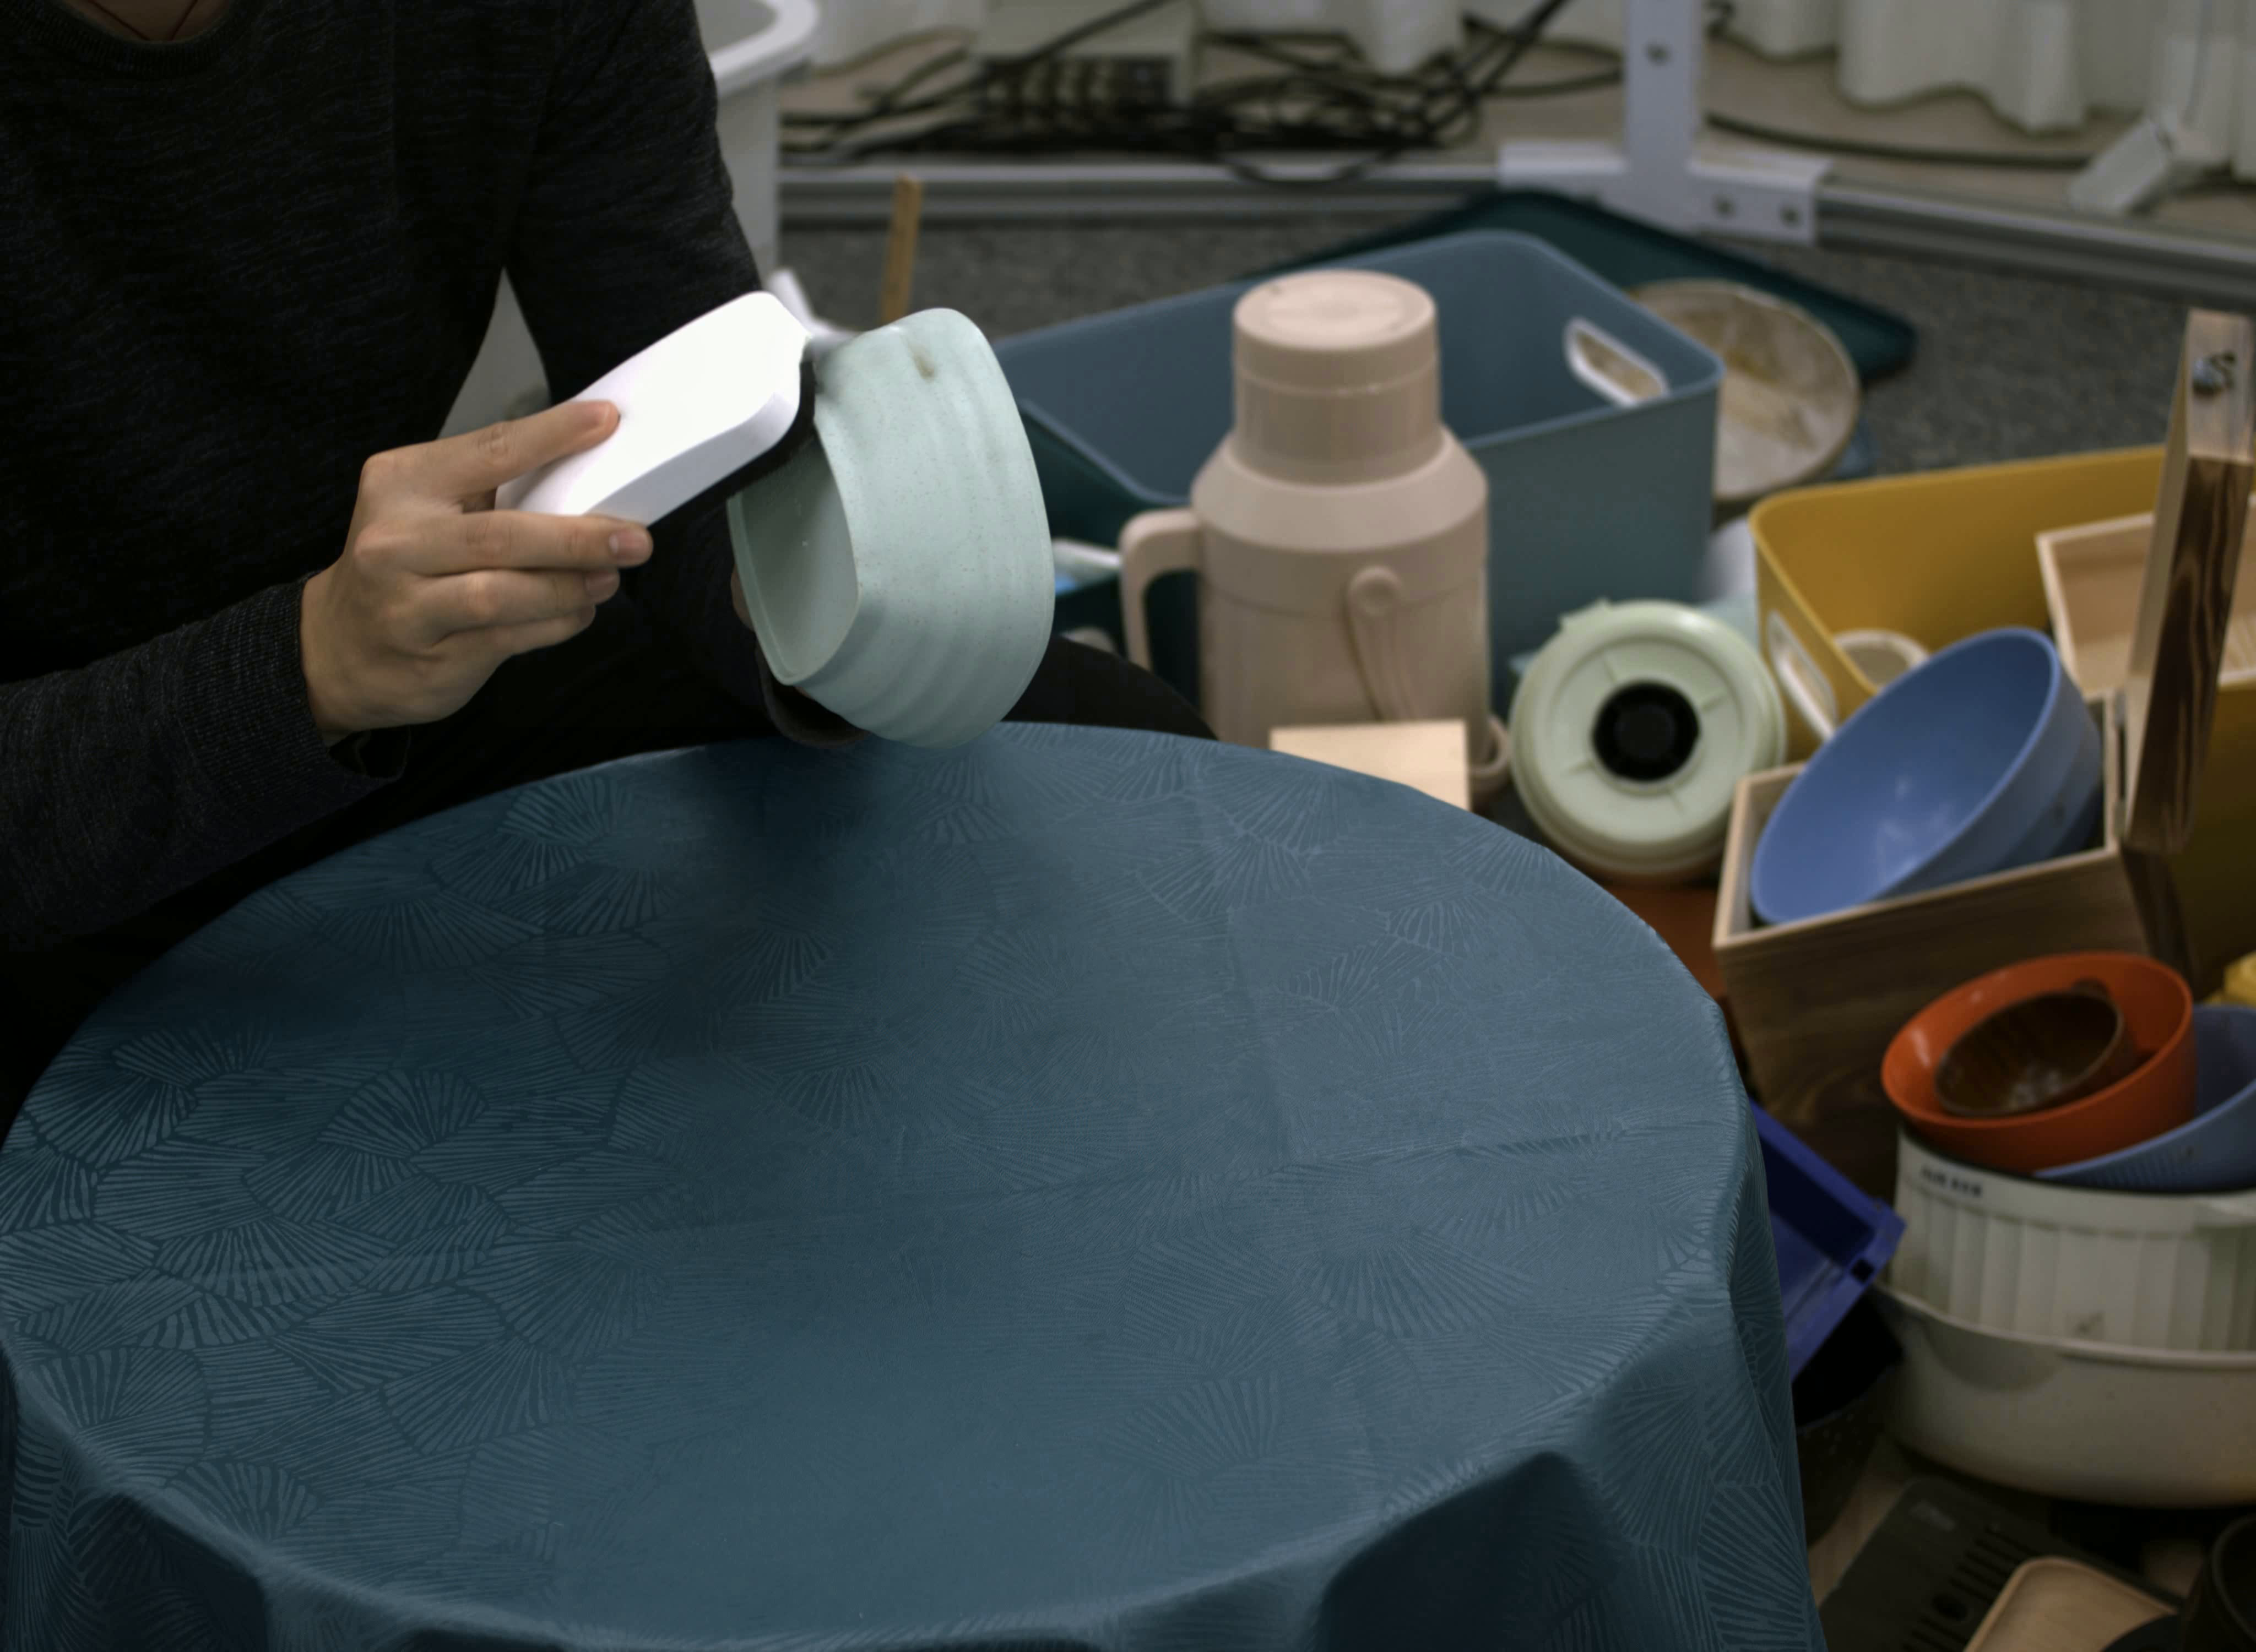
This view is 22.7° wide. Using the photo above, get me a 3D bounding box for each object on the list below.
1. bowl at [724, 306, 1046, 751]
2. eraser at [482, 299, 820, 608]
[{"bbox_3d":[-0.087,-0.095,1.847,0.059,0.150,0.152,-7,26,-28],"label":"bowl"},{"bbox_3d":[-0.158,-0.122,1.838,0.129,0.034,0.065,-28,39,28],"label":"eraser"}]
